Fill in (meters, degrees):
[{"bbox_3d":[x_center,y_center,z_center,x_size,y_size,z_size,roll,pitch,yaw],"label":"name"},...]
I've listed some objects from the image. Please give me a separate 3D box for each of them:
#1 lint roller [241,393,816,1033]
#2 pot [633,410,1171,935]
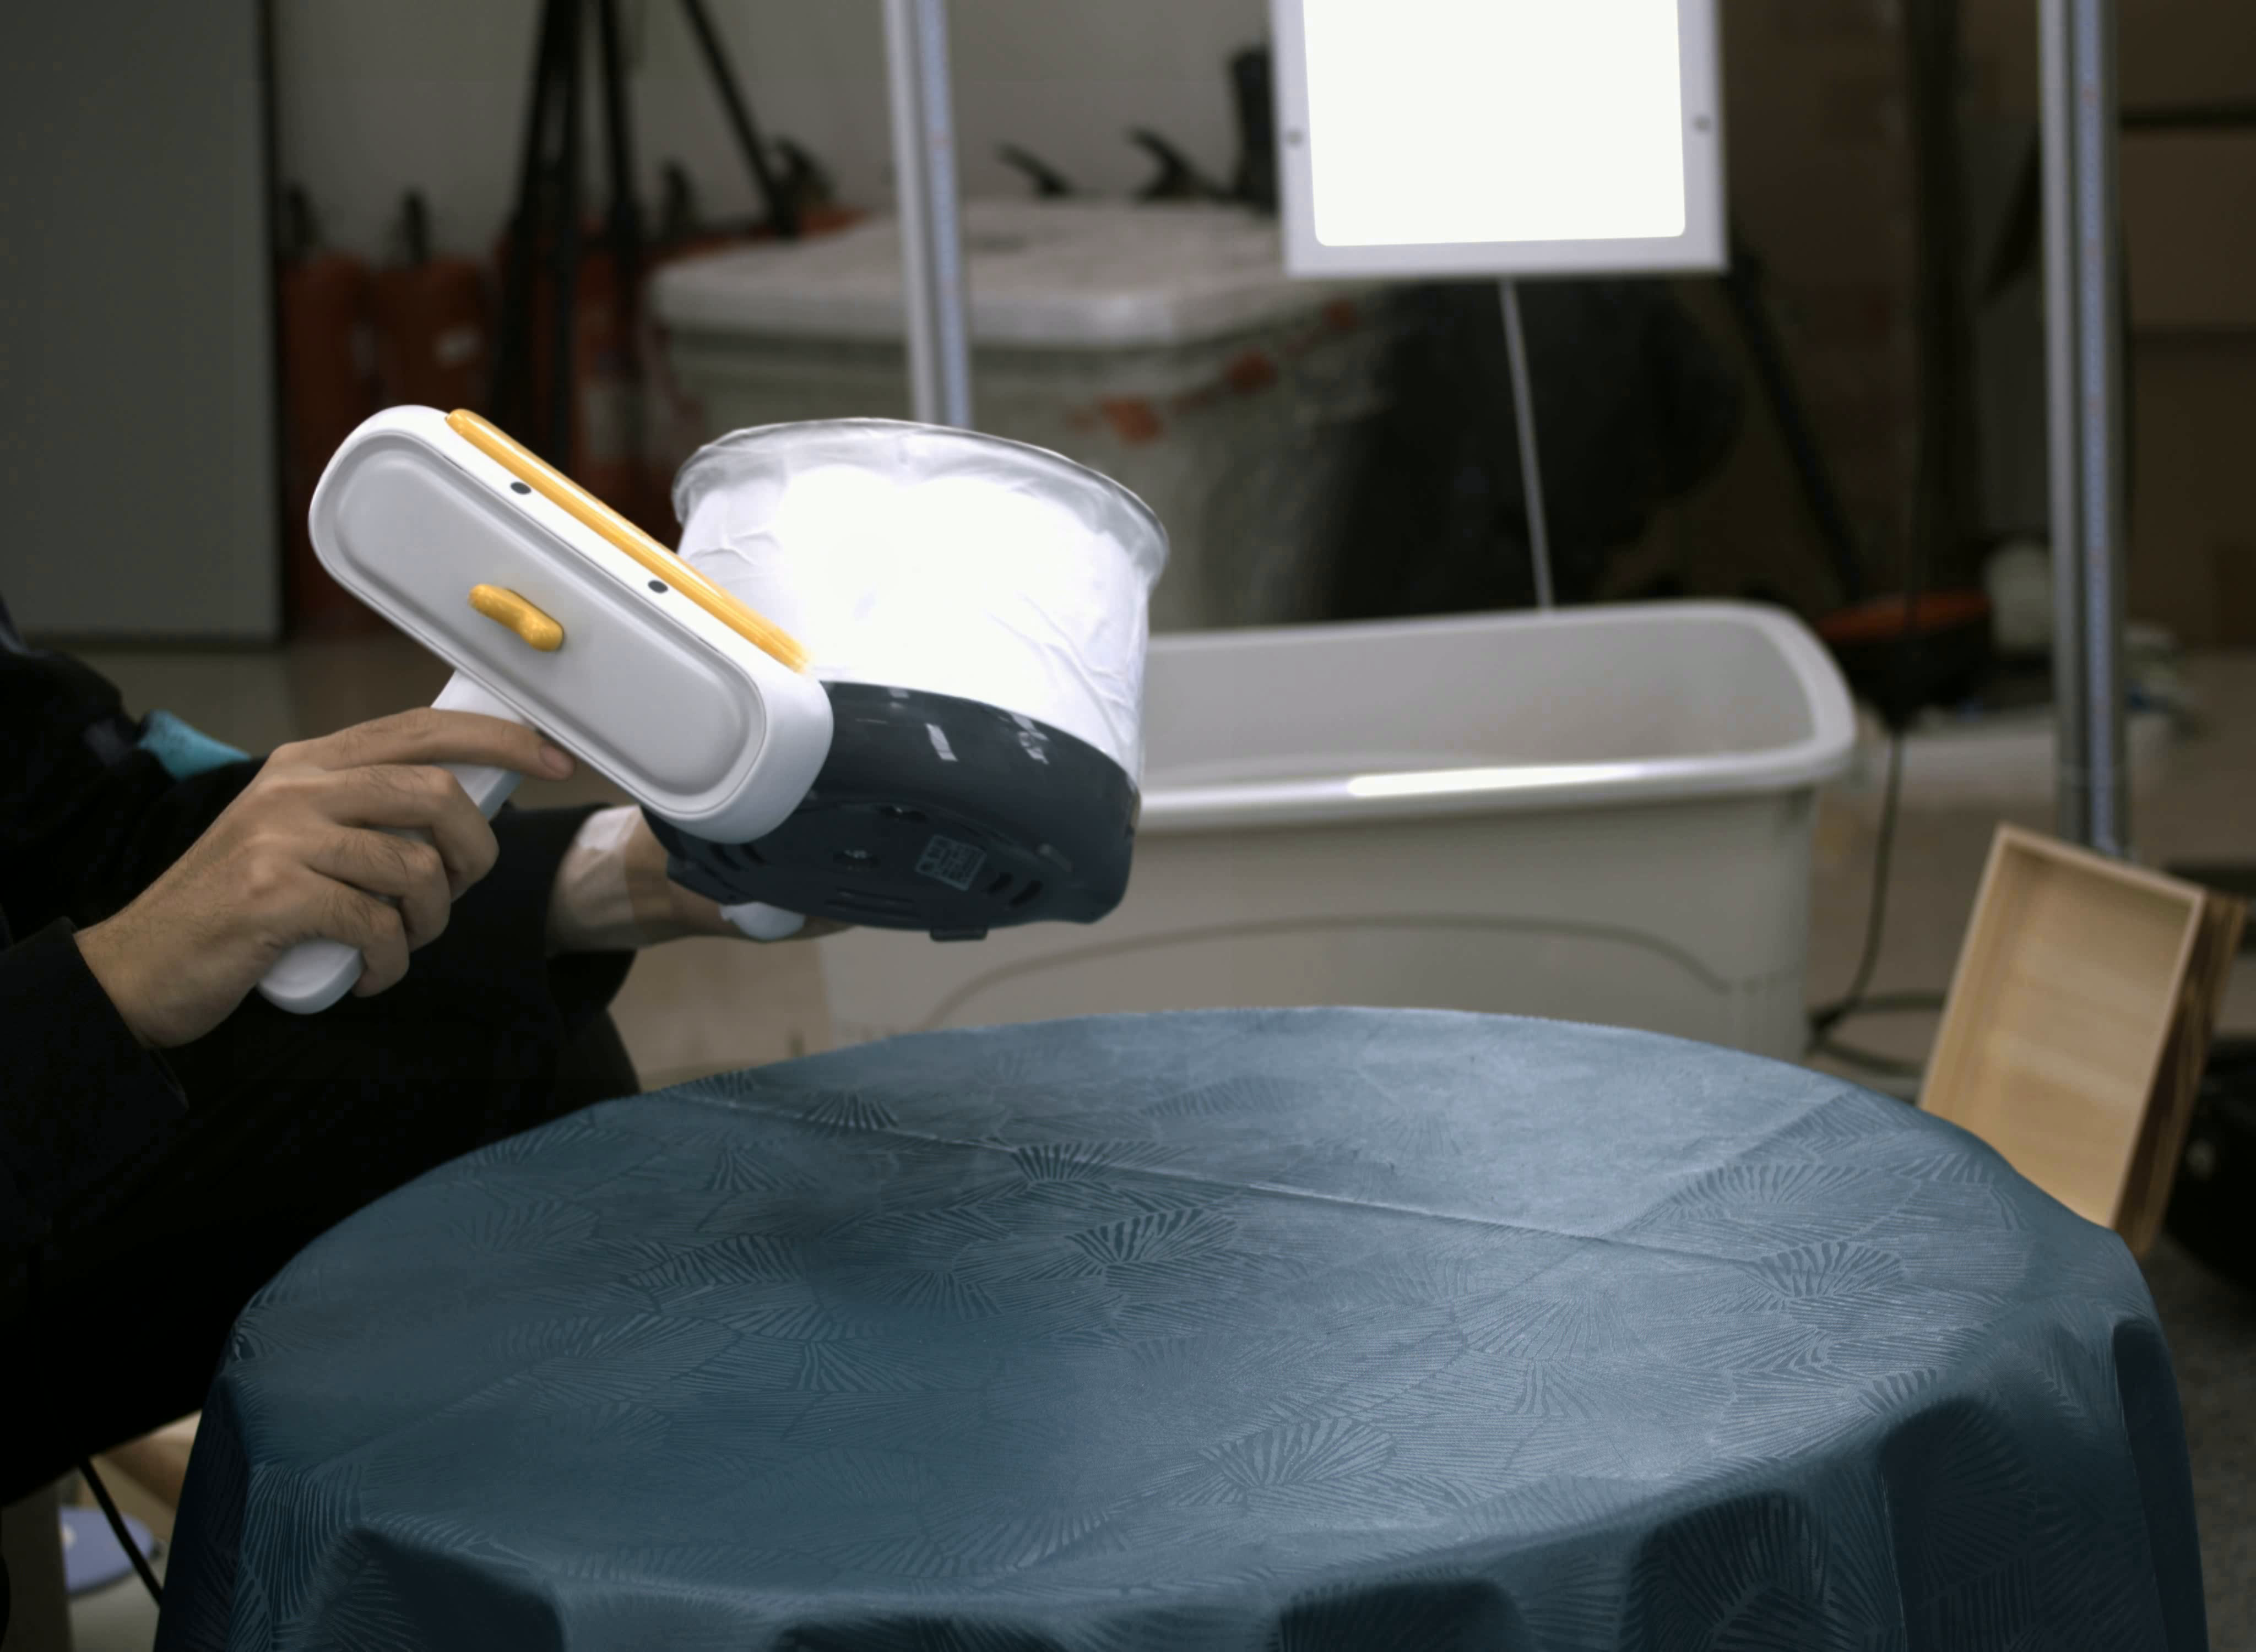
[{"bbox_3d":[-0.219,-0.020,1.774,0.194,0.193,0.073,31,3,11],"label":"lint roller"},{"bbox_3d":[-0.091,-0.042,1.939,0.176,0.136,0.237,15,-20,-16],"label":"pot"}]
